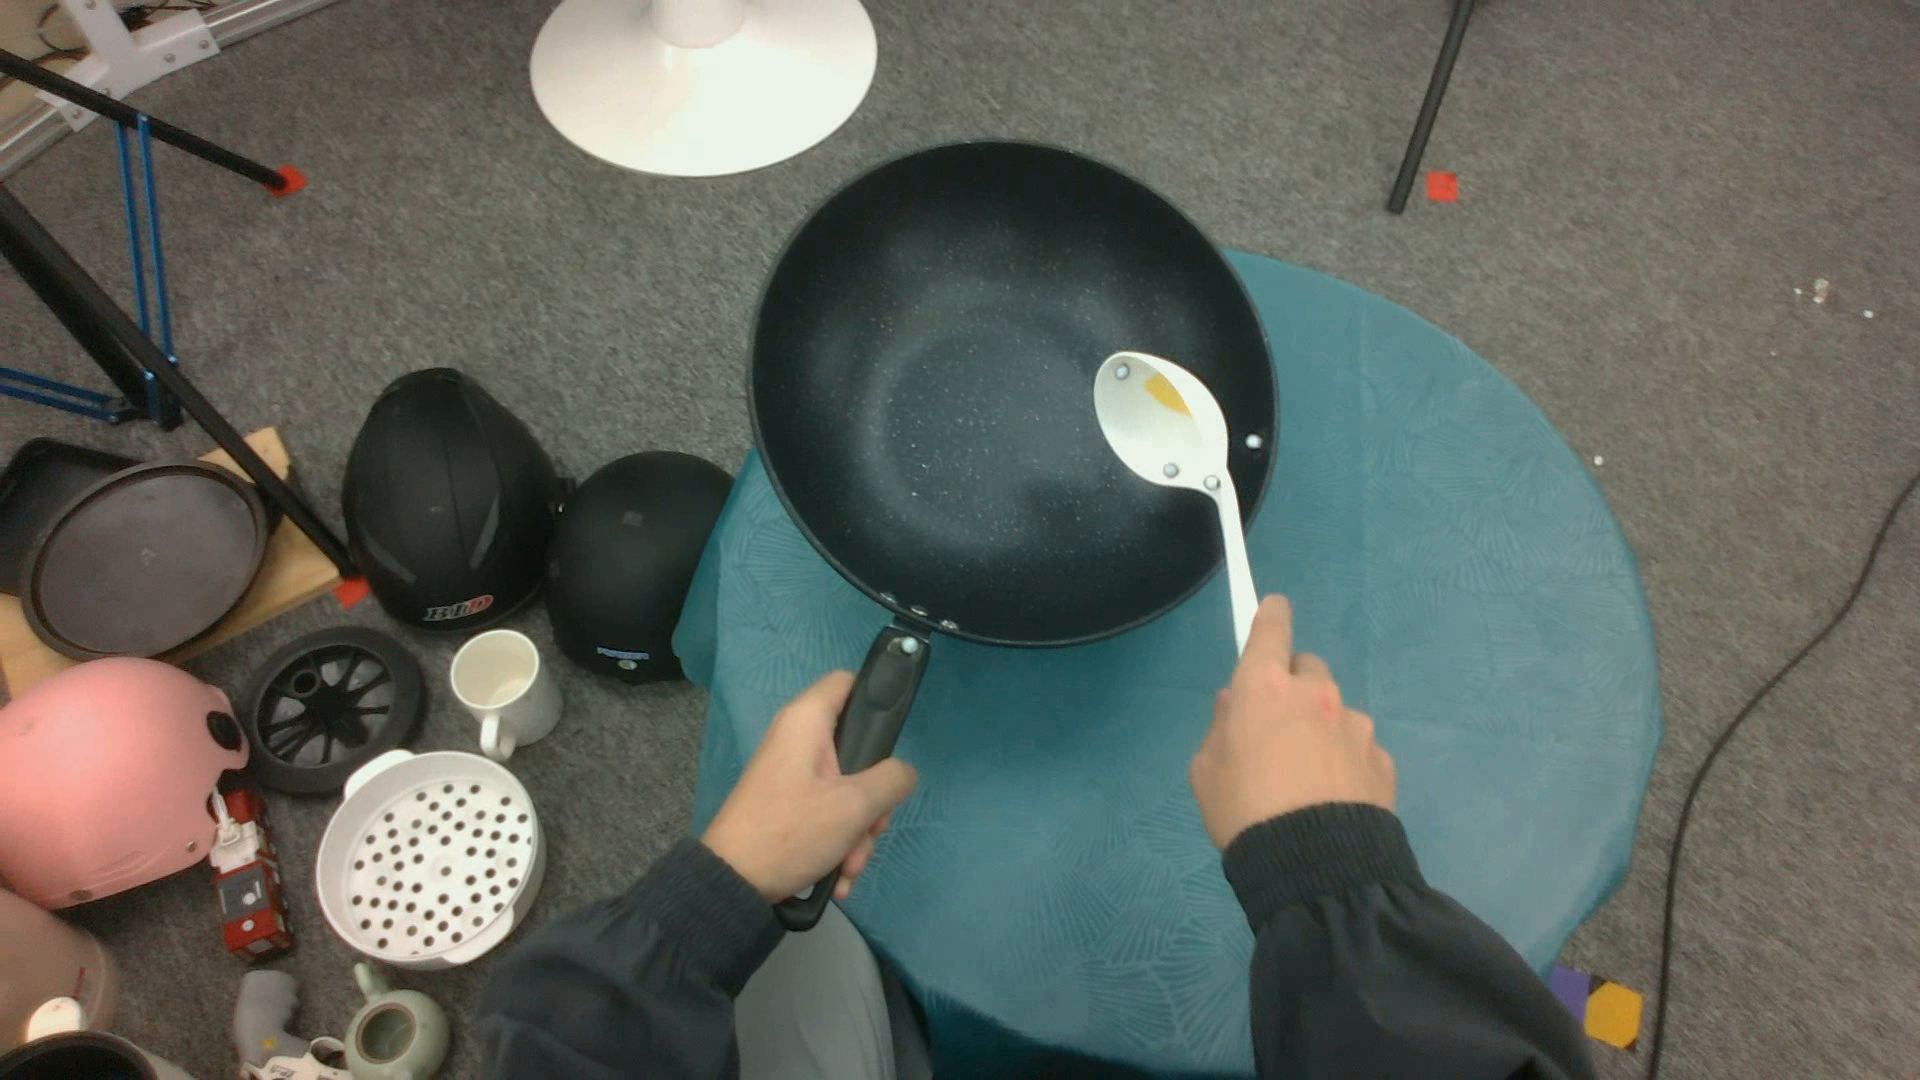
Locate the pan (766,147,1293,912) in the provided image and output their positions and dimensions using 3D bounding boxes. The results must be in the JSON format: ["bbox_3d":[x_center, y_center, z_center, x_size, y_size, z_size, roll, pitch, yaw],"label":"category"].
[{"bbox_3d":[0.010,-0.013,0.798,0.310,0.111,0.478,22,71,1],"label":"pan"}]

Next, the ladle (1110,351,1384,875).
[{"bbox_3d":[0.144,0.029,0.713,0.070,0.089,0.294,0,57,-15],"label":"ladle"}]
